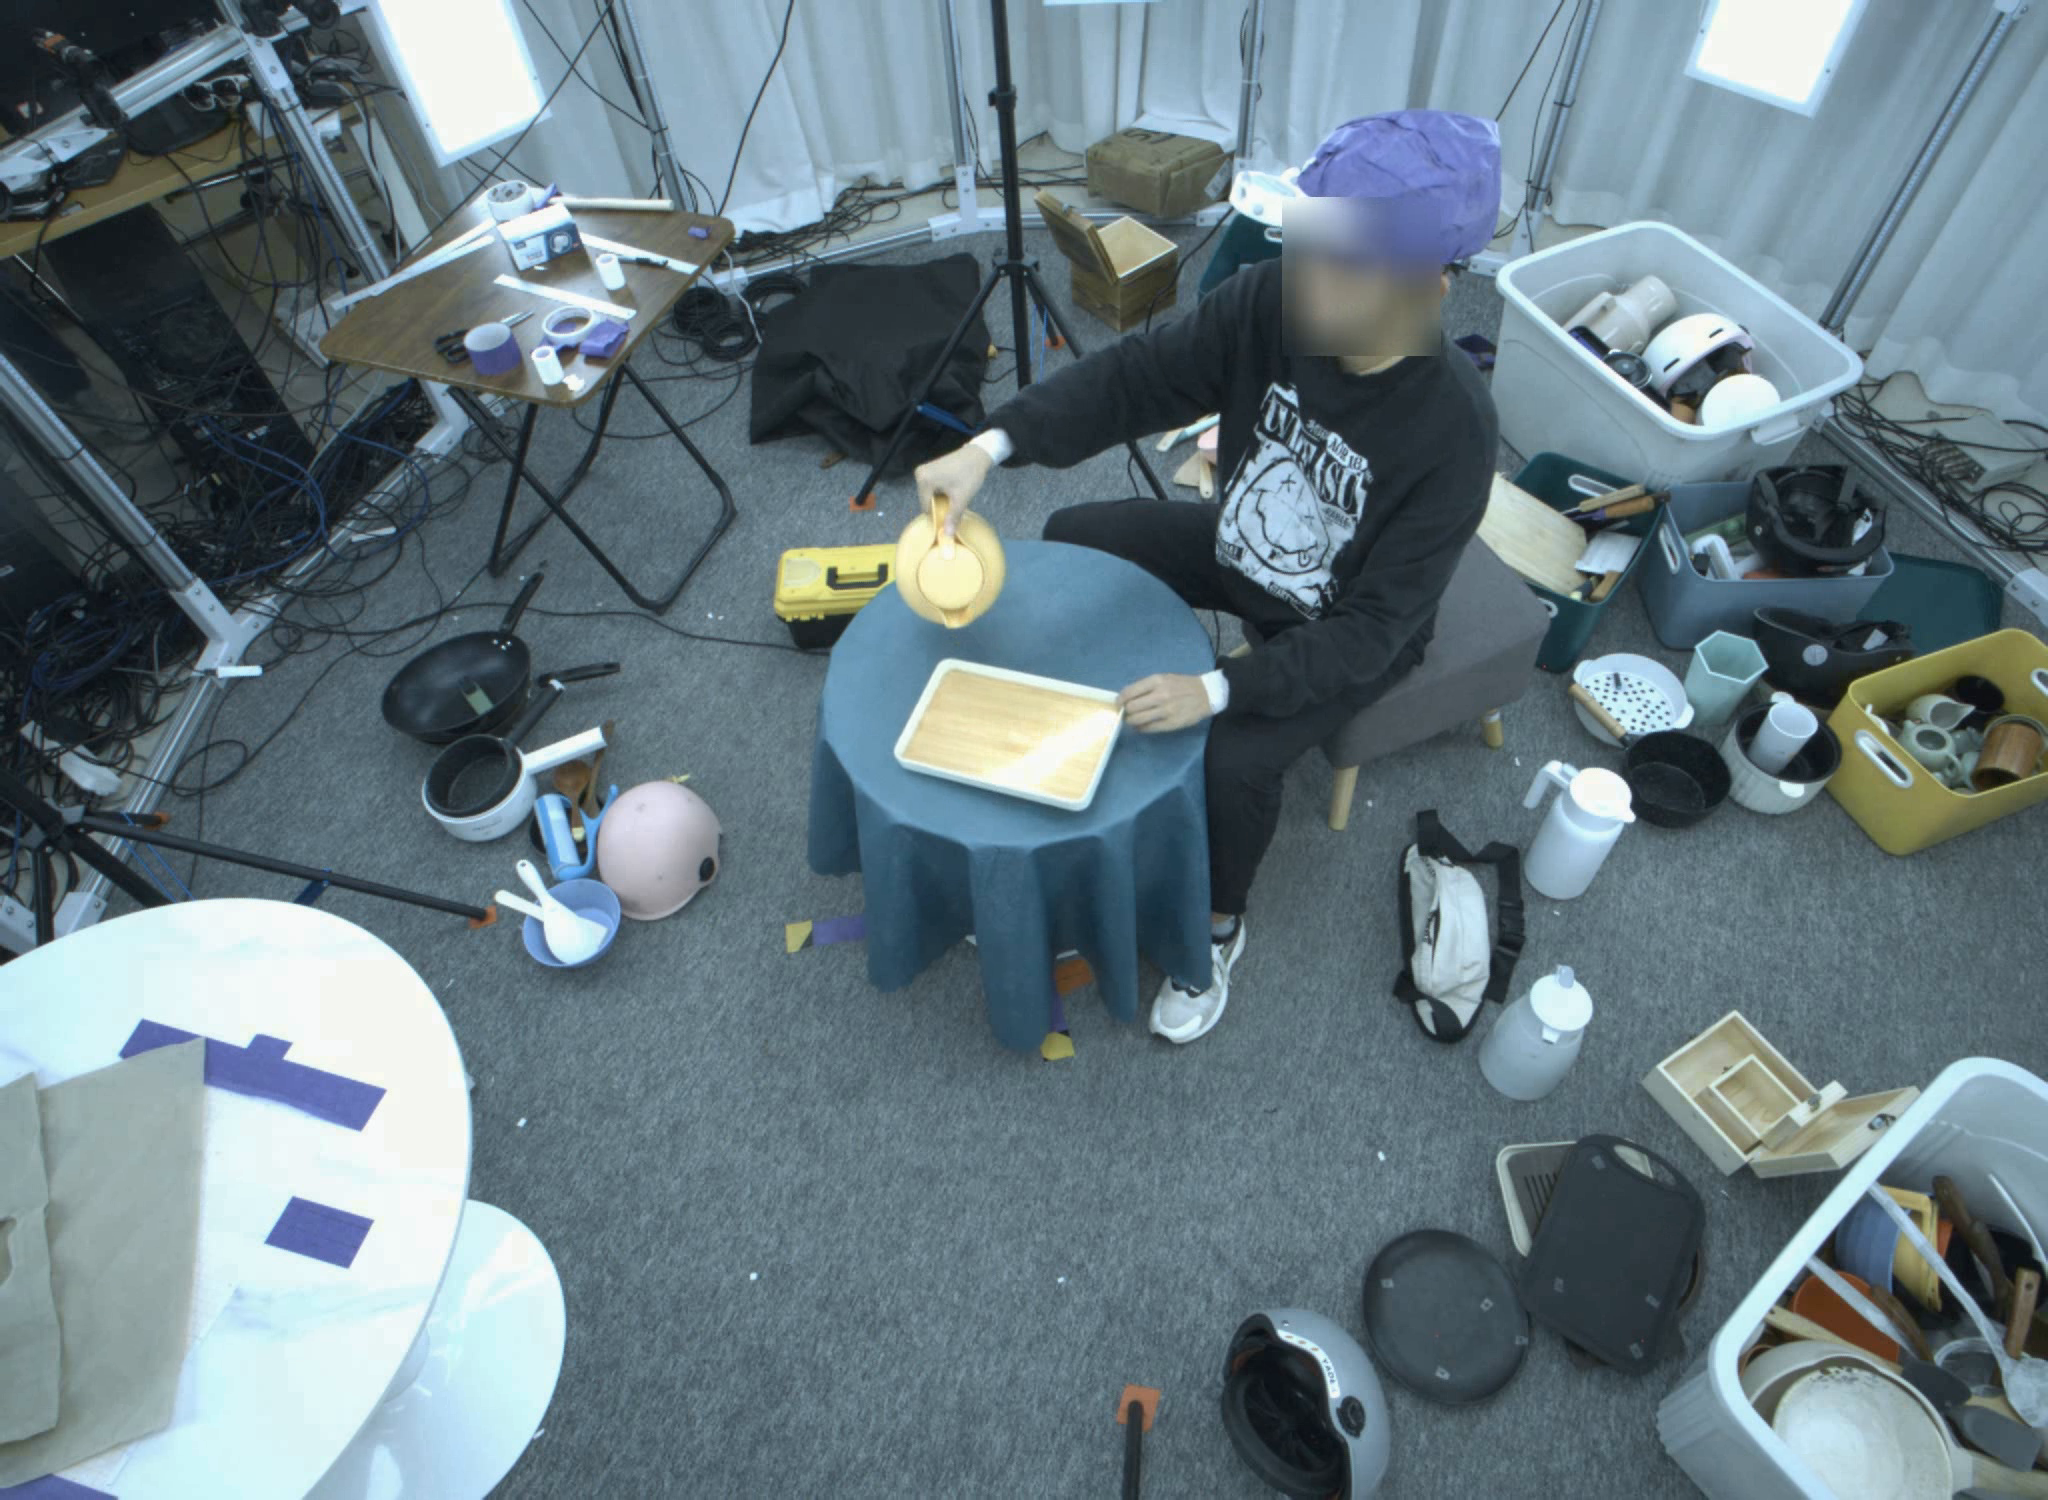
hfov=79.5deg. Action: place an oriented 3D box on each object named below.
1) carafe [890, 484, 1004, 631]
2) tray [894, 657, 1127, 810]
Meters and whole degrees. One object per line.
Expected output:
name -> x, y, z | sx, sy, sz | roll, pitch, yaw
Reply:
carafe -> -0.110, -0.281, 1.751 | 0.164, 0.203, 0.257 | -5, 17, -7
tray -> -0.019, -0.028, 1.763 | 0.296, 0.028, 0.191 | 14, 61, 18
